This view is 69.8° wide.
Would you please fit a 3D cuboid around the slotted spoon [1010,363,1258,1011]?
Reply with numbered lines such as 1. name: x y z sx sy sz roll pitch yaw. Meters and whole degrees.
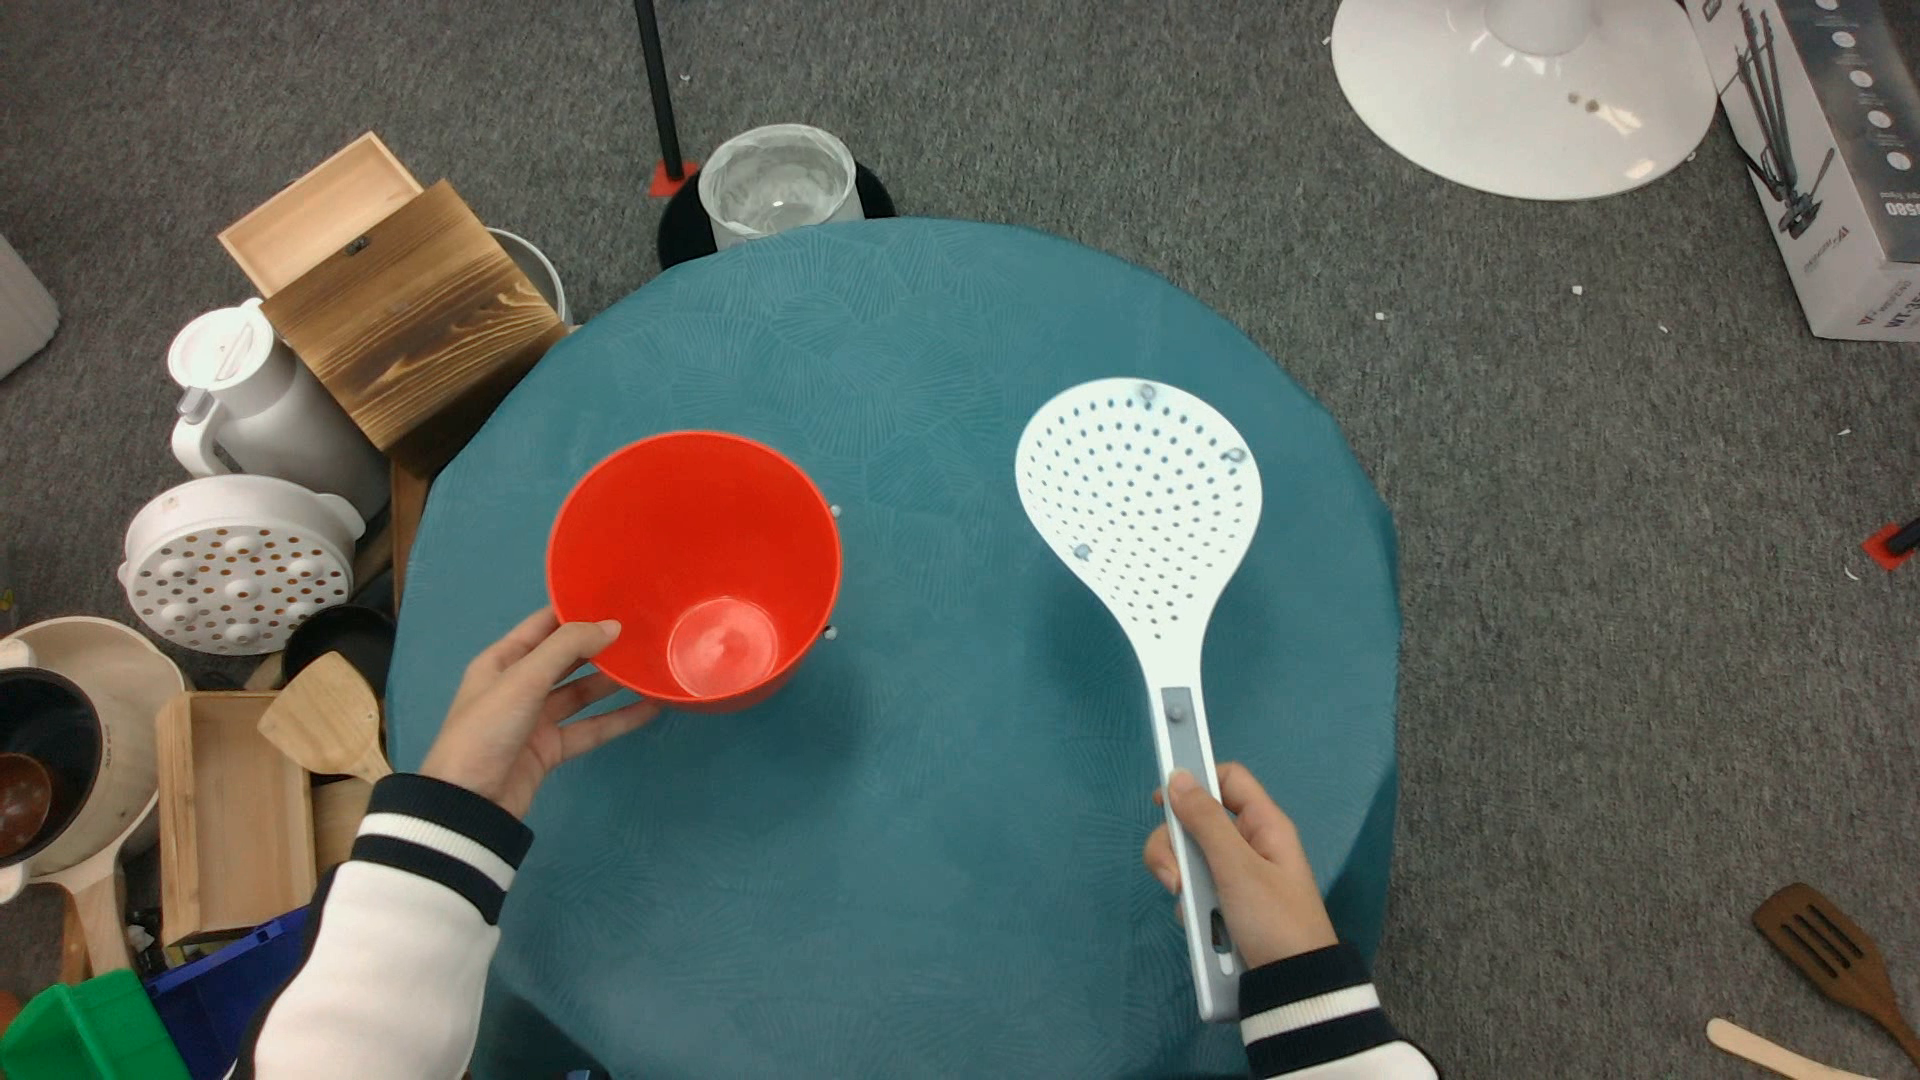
1. slotted spoon: 0.104 0.057 0.696 0.136 0.045 0.351 -1 55 -9

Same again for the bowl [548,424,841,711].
1. bowl: -0.138 0.027 0.740 0.148 0.104 0.148 3 58 -4
